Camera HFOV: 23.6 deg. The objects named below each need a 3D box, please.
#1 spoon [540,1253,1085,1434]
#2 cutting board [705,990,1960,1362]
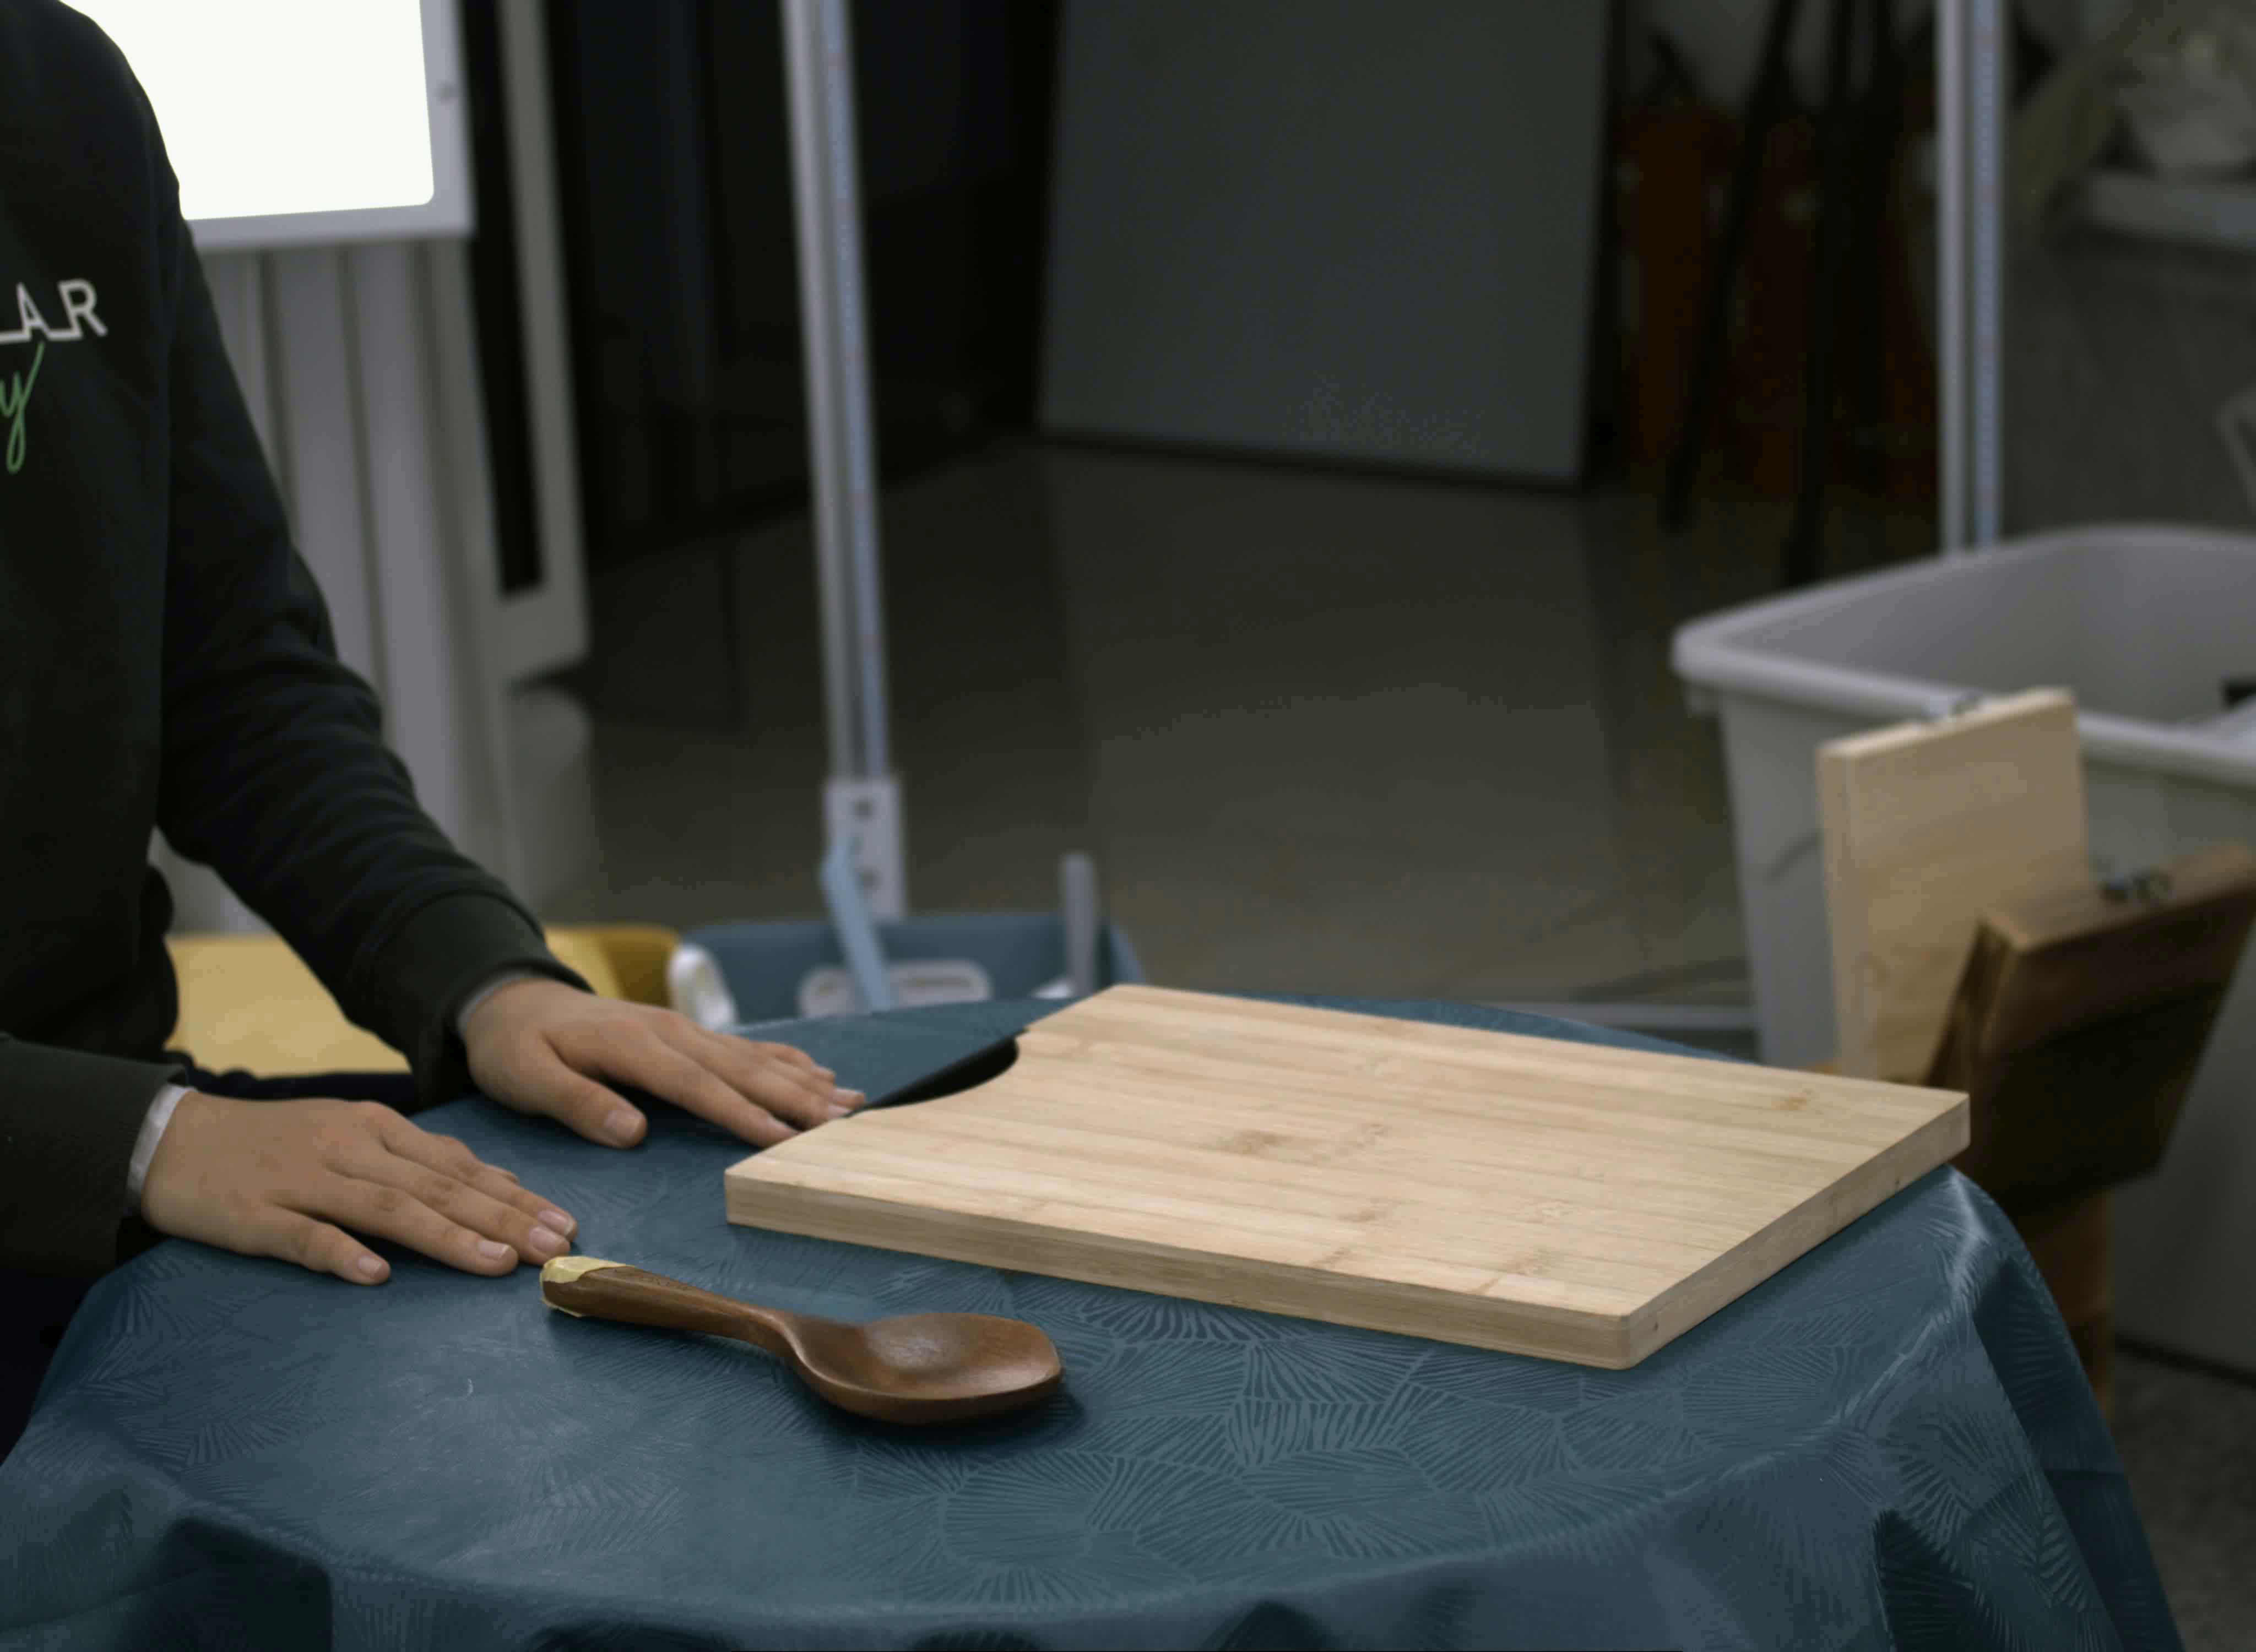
[{"bbox_3d":[-0.100,0.155,1.628,0.218,0.017,0.074,10,21,42],"label":"spoon"},{"bbox_3d":[0.067,0.109,1.766,0.350,0.024,0.246,5,16,34],"label":"cutting board"}]
